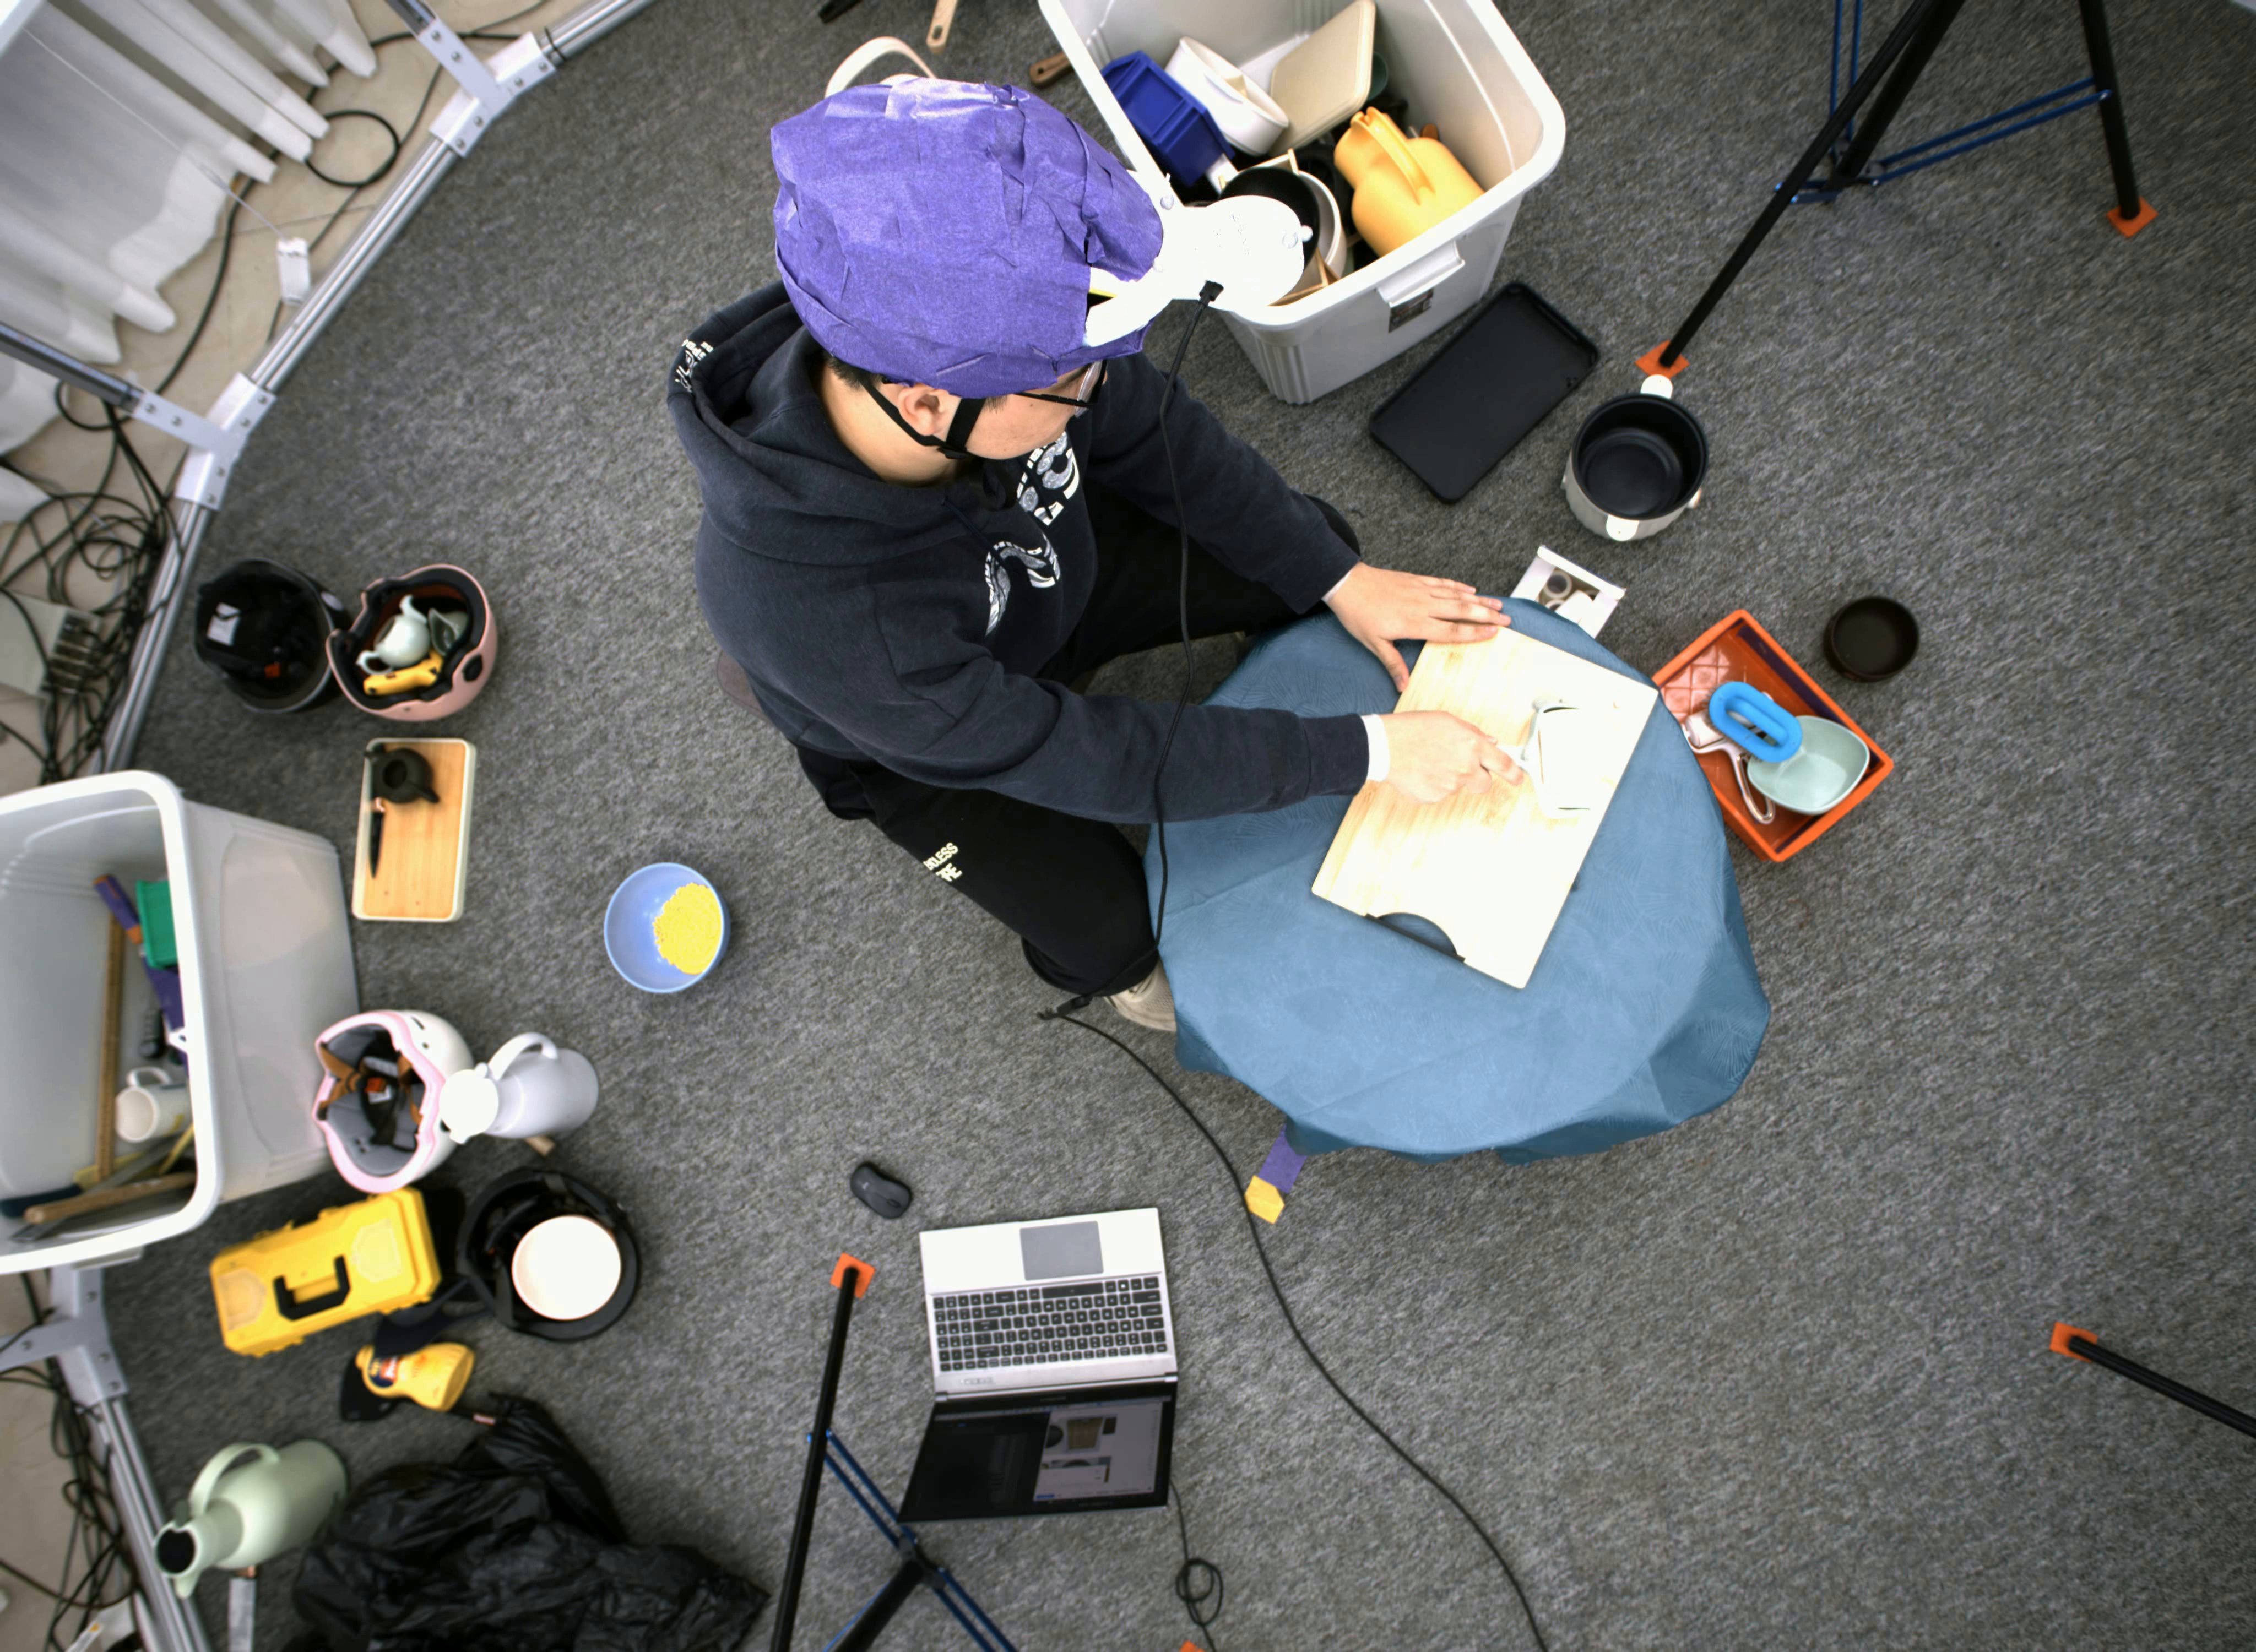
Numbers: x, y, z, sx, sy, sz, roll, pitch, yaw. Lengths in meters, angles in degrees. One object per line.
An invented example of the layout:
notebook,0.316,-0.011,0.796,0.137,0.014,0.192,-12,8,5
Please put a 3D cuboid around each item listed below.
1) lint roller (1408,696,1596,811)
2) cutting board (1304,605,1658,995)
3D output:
lint roller,0.377,-0.075,1.374,0.197,0.049,0.116,-1,87,-16
cutting board,0.369,-0.032,1.440,0.250,0.023,0.348,24,91,12
